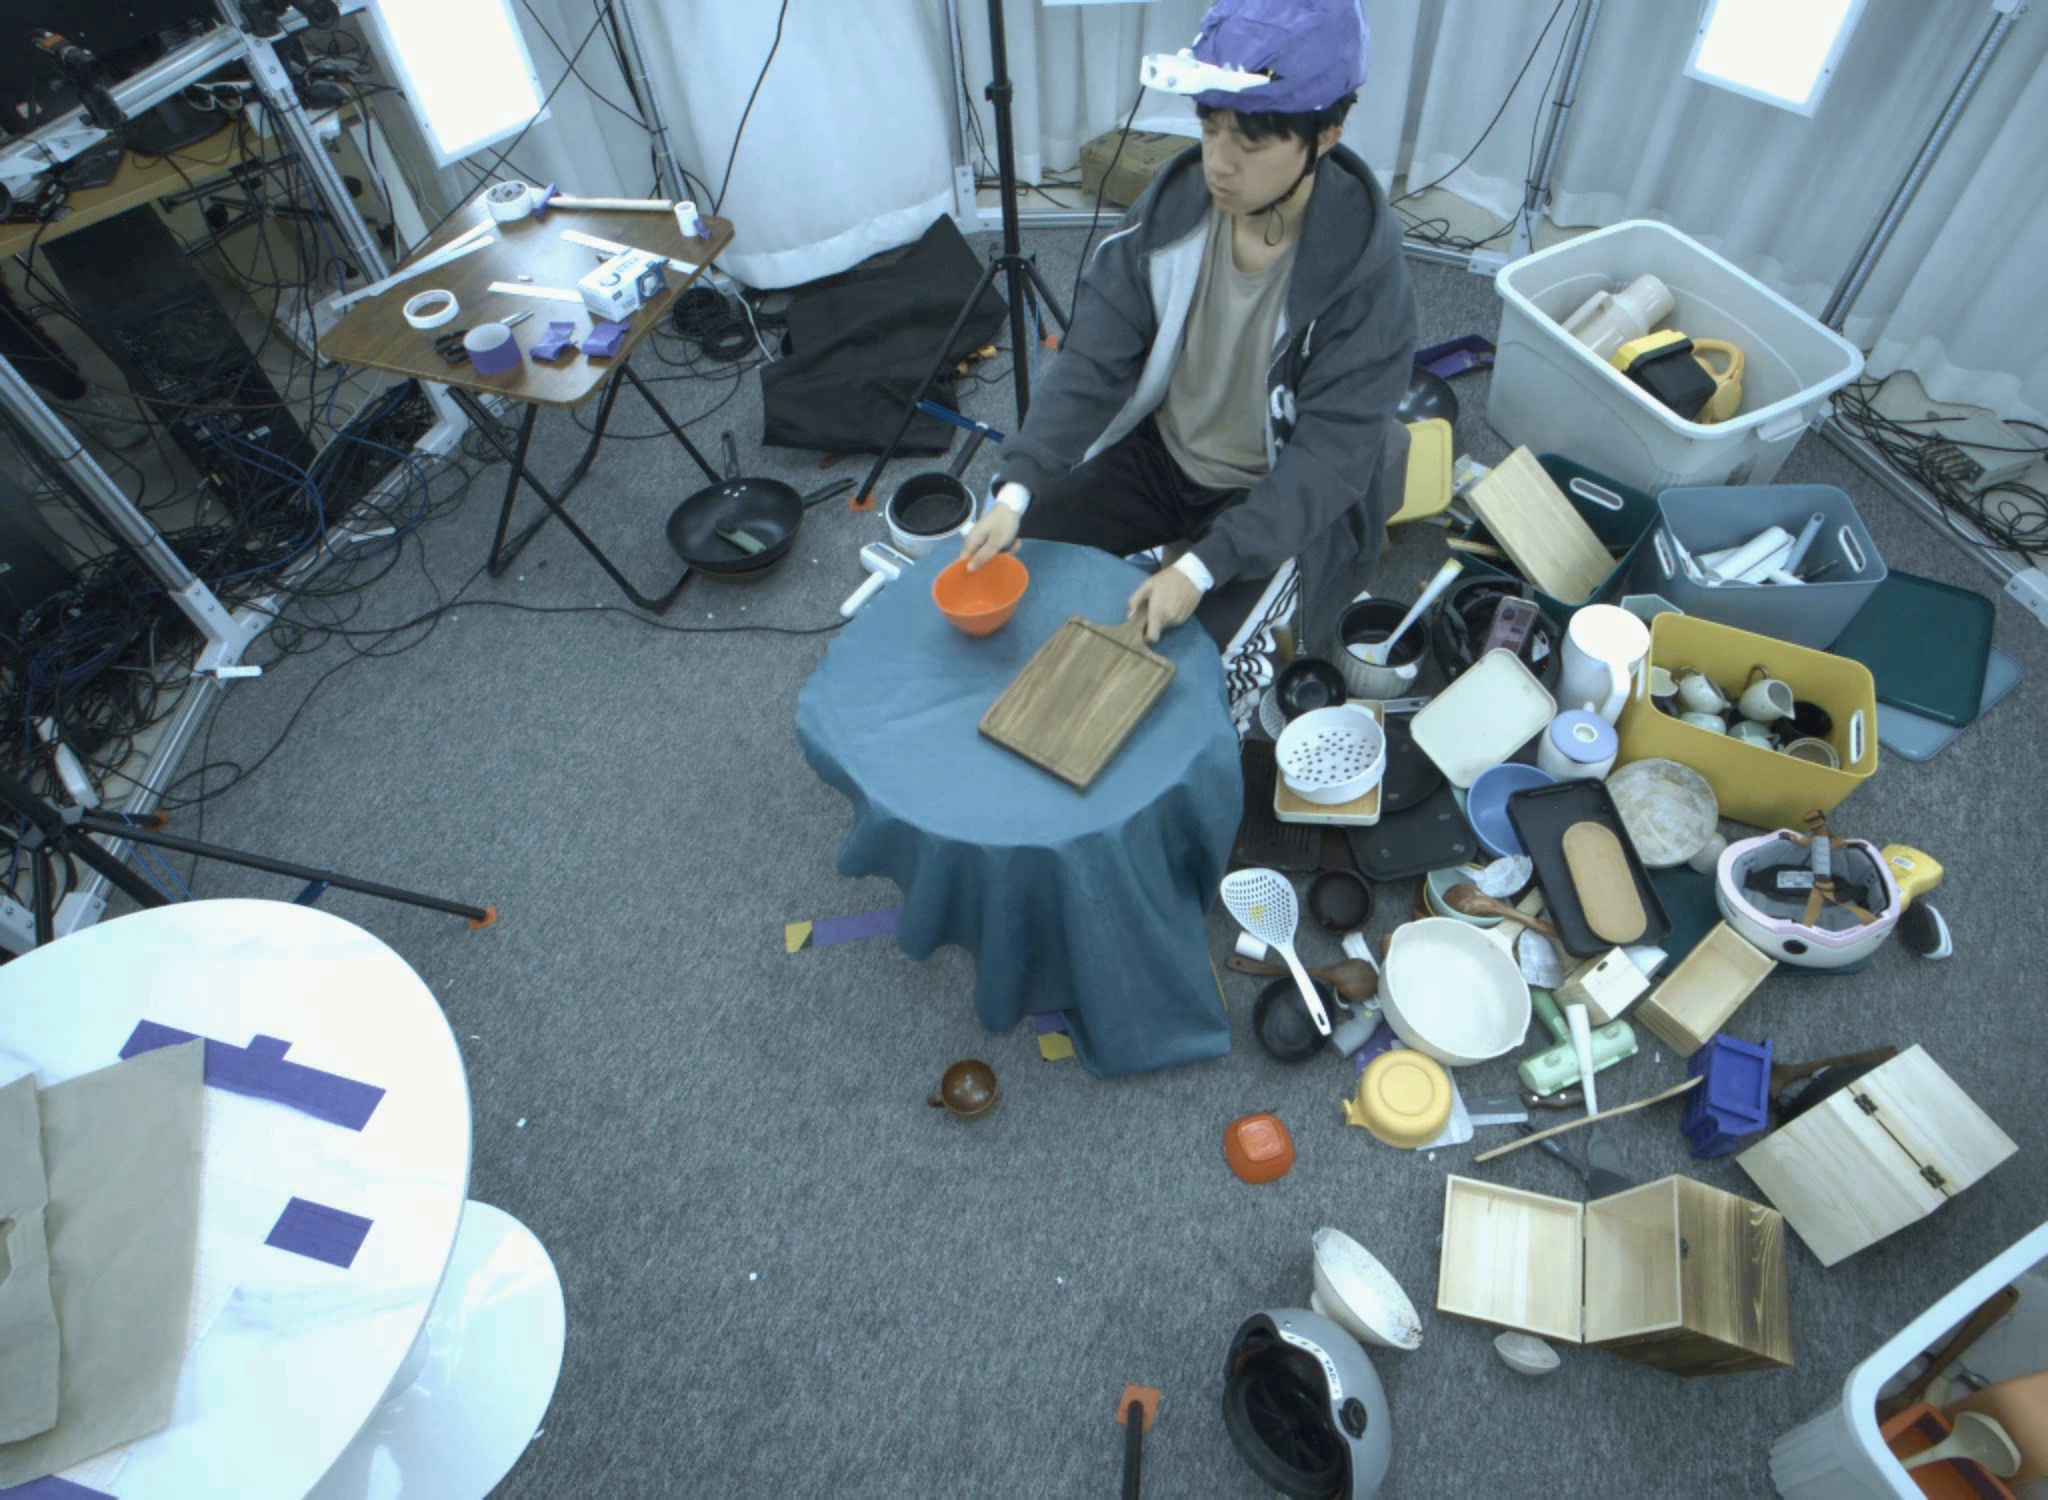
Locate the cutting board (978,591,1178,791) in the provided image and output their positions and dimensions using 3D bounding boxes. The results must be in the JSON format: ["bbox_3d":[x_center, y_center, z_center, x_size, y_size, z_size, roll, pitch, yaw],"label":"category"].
[{"bbox_3d":[0.109,-0.112,1.834,0.198,0.023,0.353,30,66,21],"label":"cutting board"}]

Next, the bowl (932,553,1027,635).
[{"bbox_3d":[-0.066,-0.228,1.892,0.148,0.106,0.146,-1,55,2],"label":"bowl"}]
